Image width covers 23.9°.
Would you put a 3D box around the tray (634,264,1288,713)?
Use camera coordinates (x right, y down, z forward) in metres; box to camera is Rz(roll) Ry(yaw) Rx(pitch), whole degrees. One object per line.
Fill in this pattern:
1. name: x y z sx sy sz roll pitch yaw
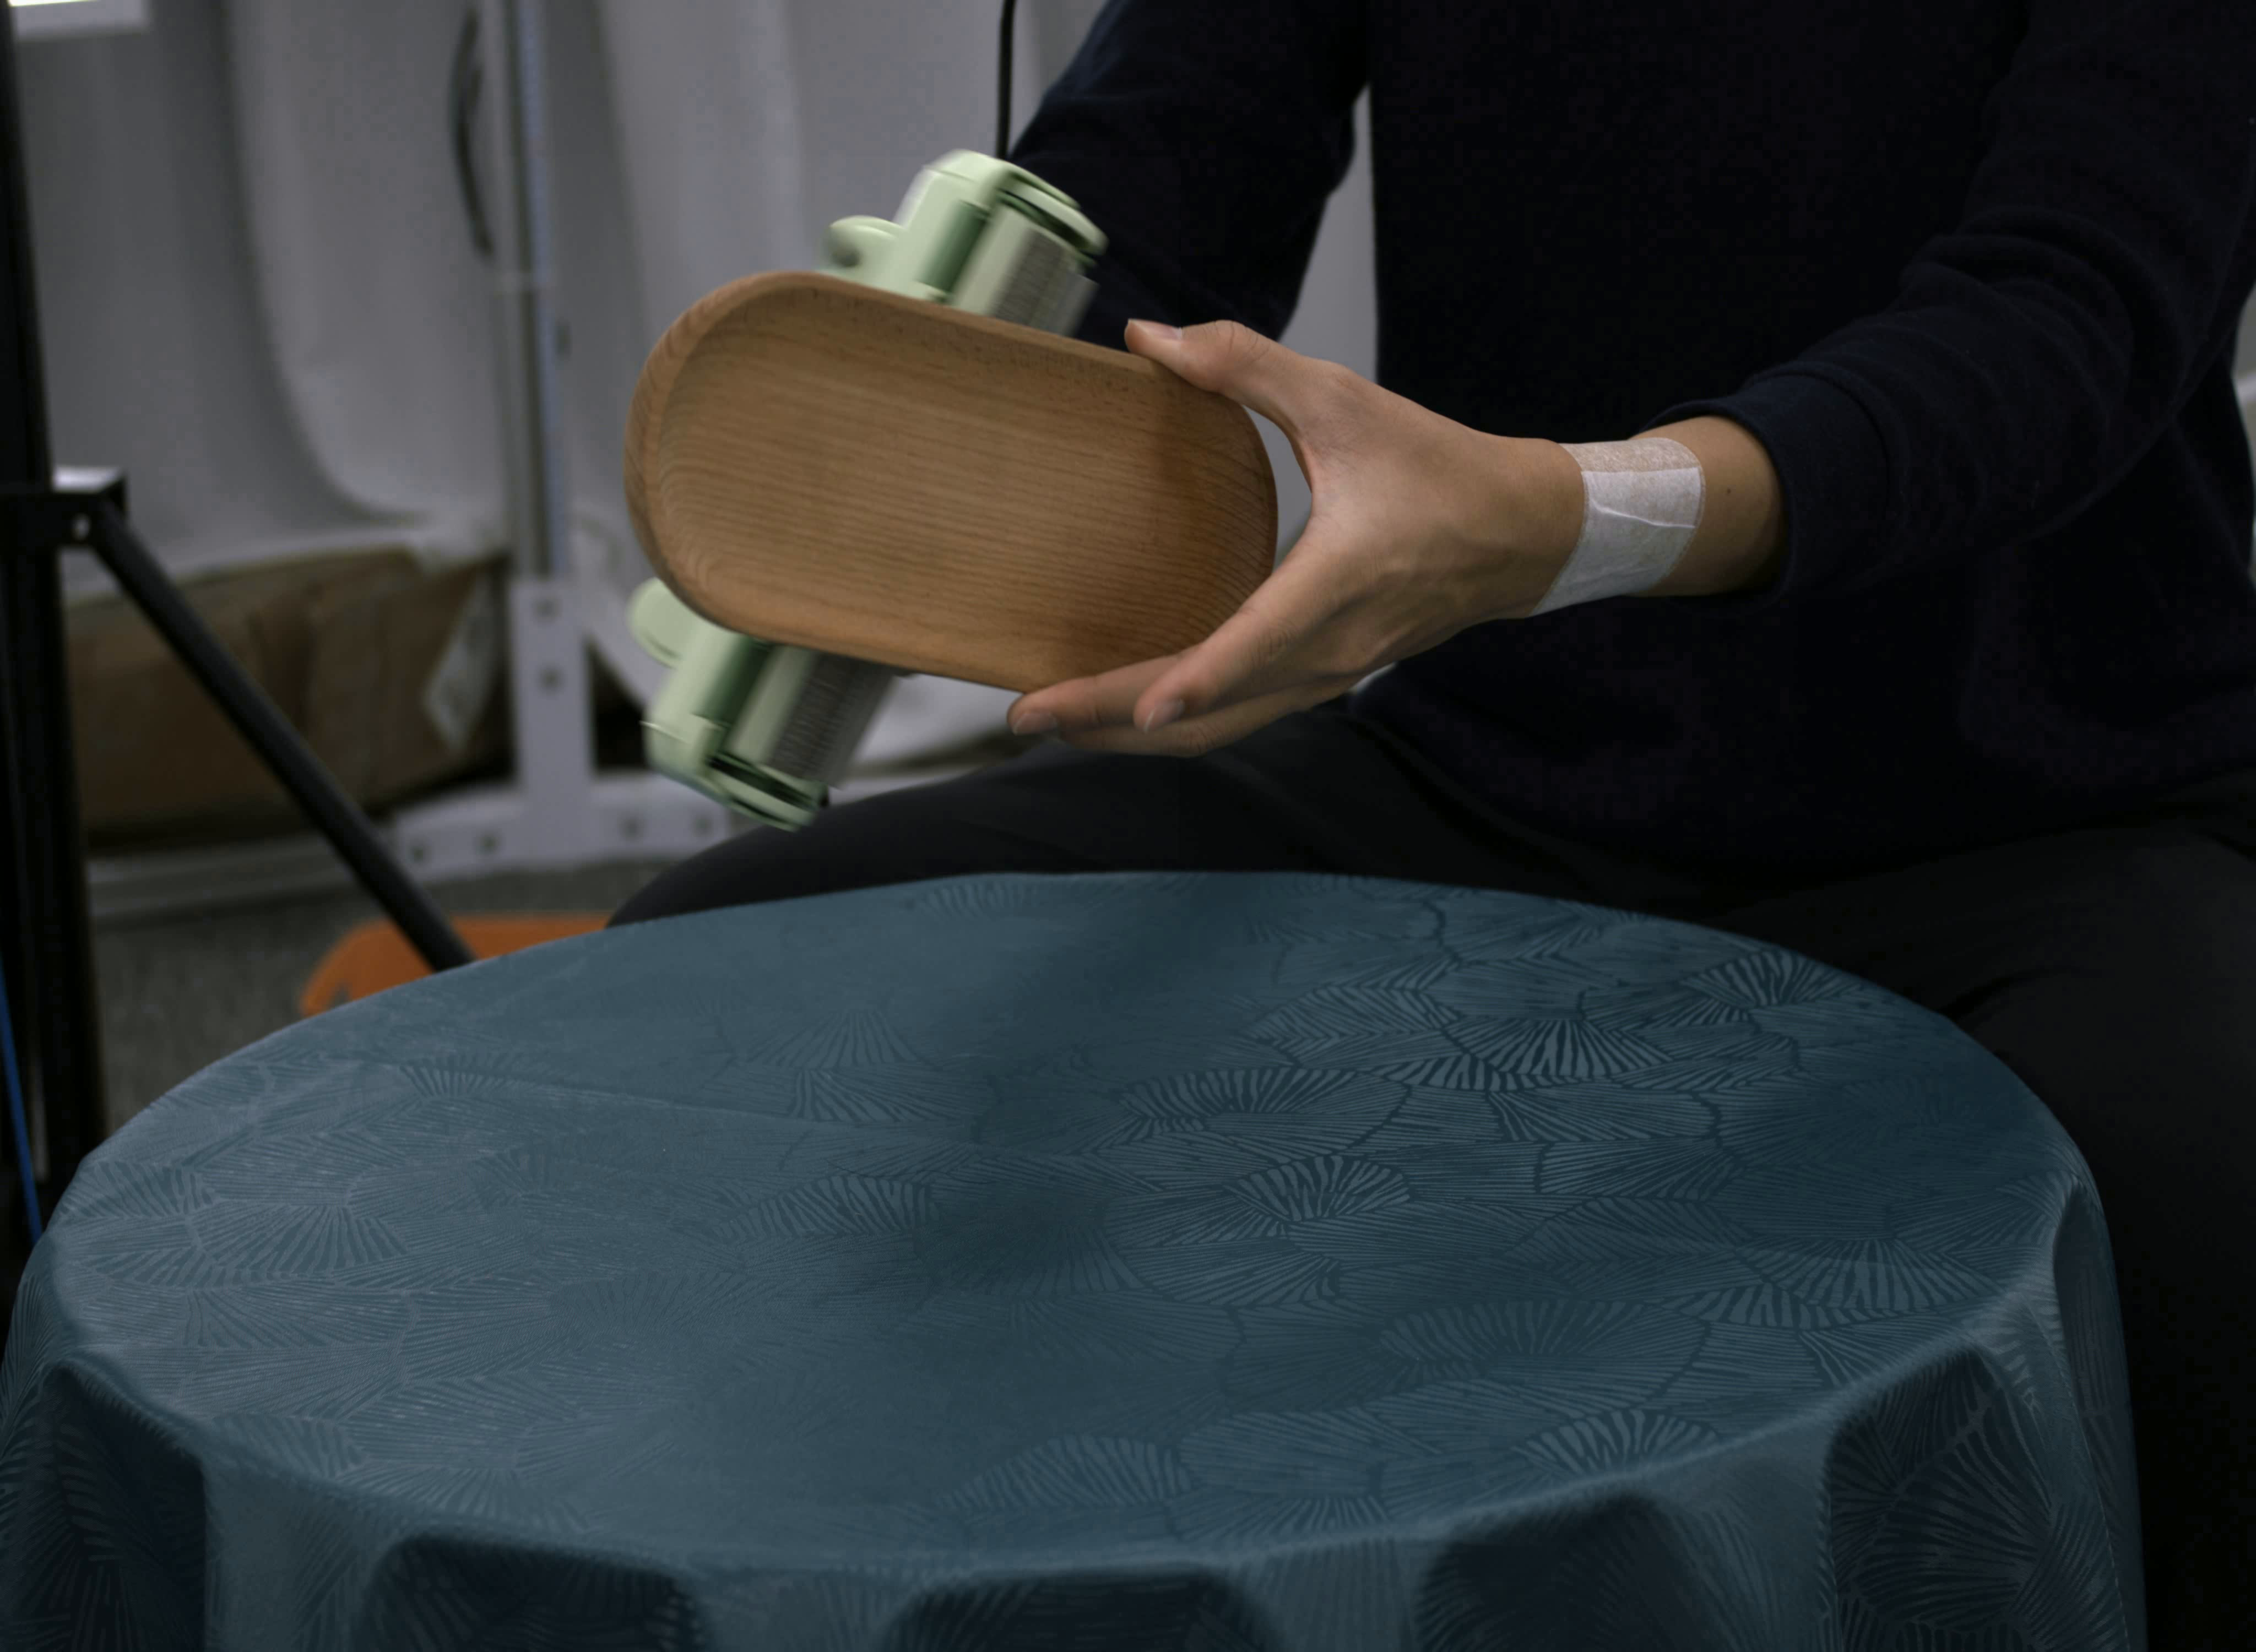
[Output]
1. tray: -0.043 -0.092 1.478 0.225 0.102 0.021 10 1 -41

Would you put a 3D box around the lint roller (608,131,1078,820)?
1. lint roller: -0.087 -0.100 1.558 0.082 0.199 0.183 27 -3 -2
